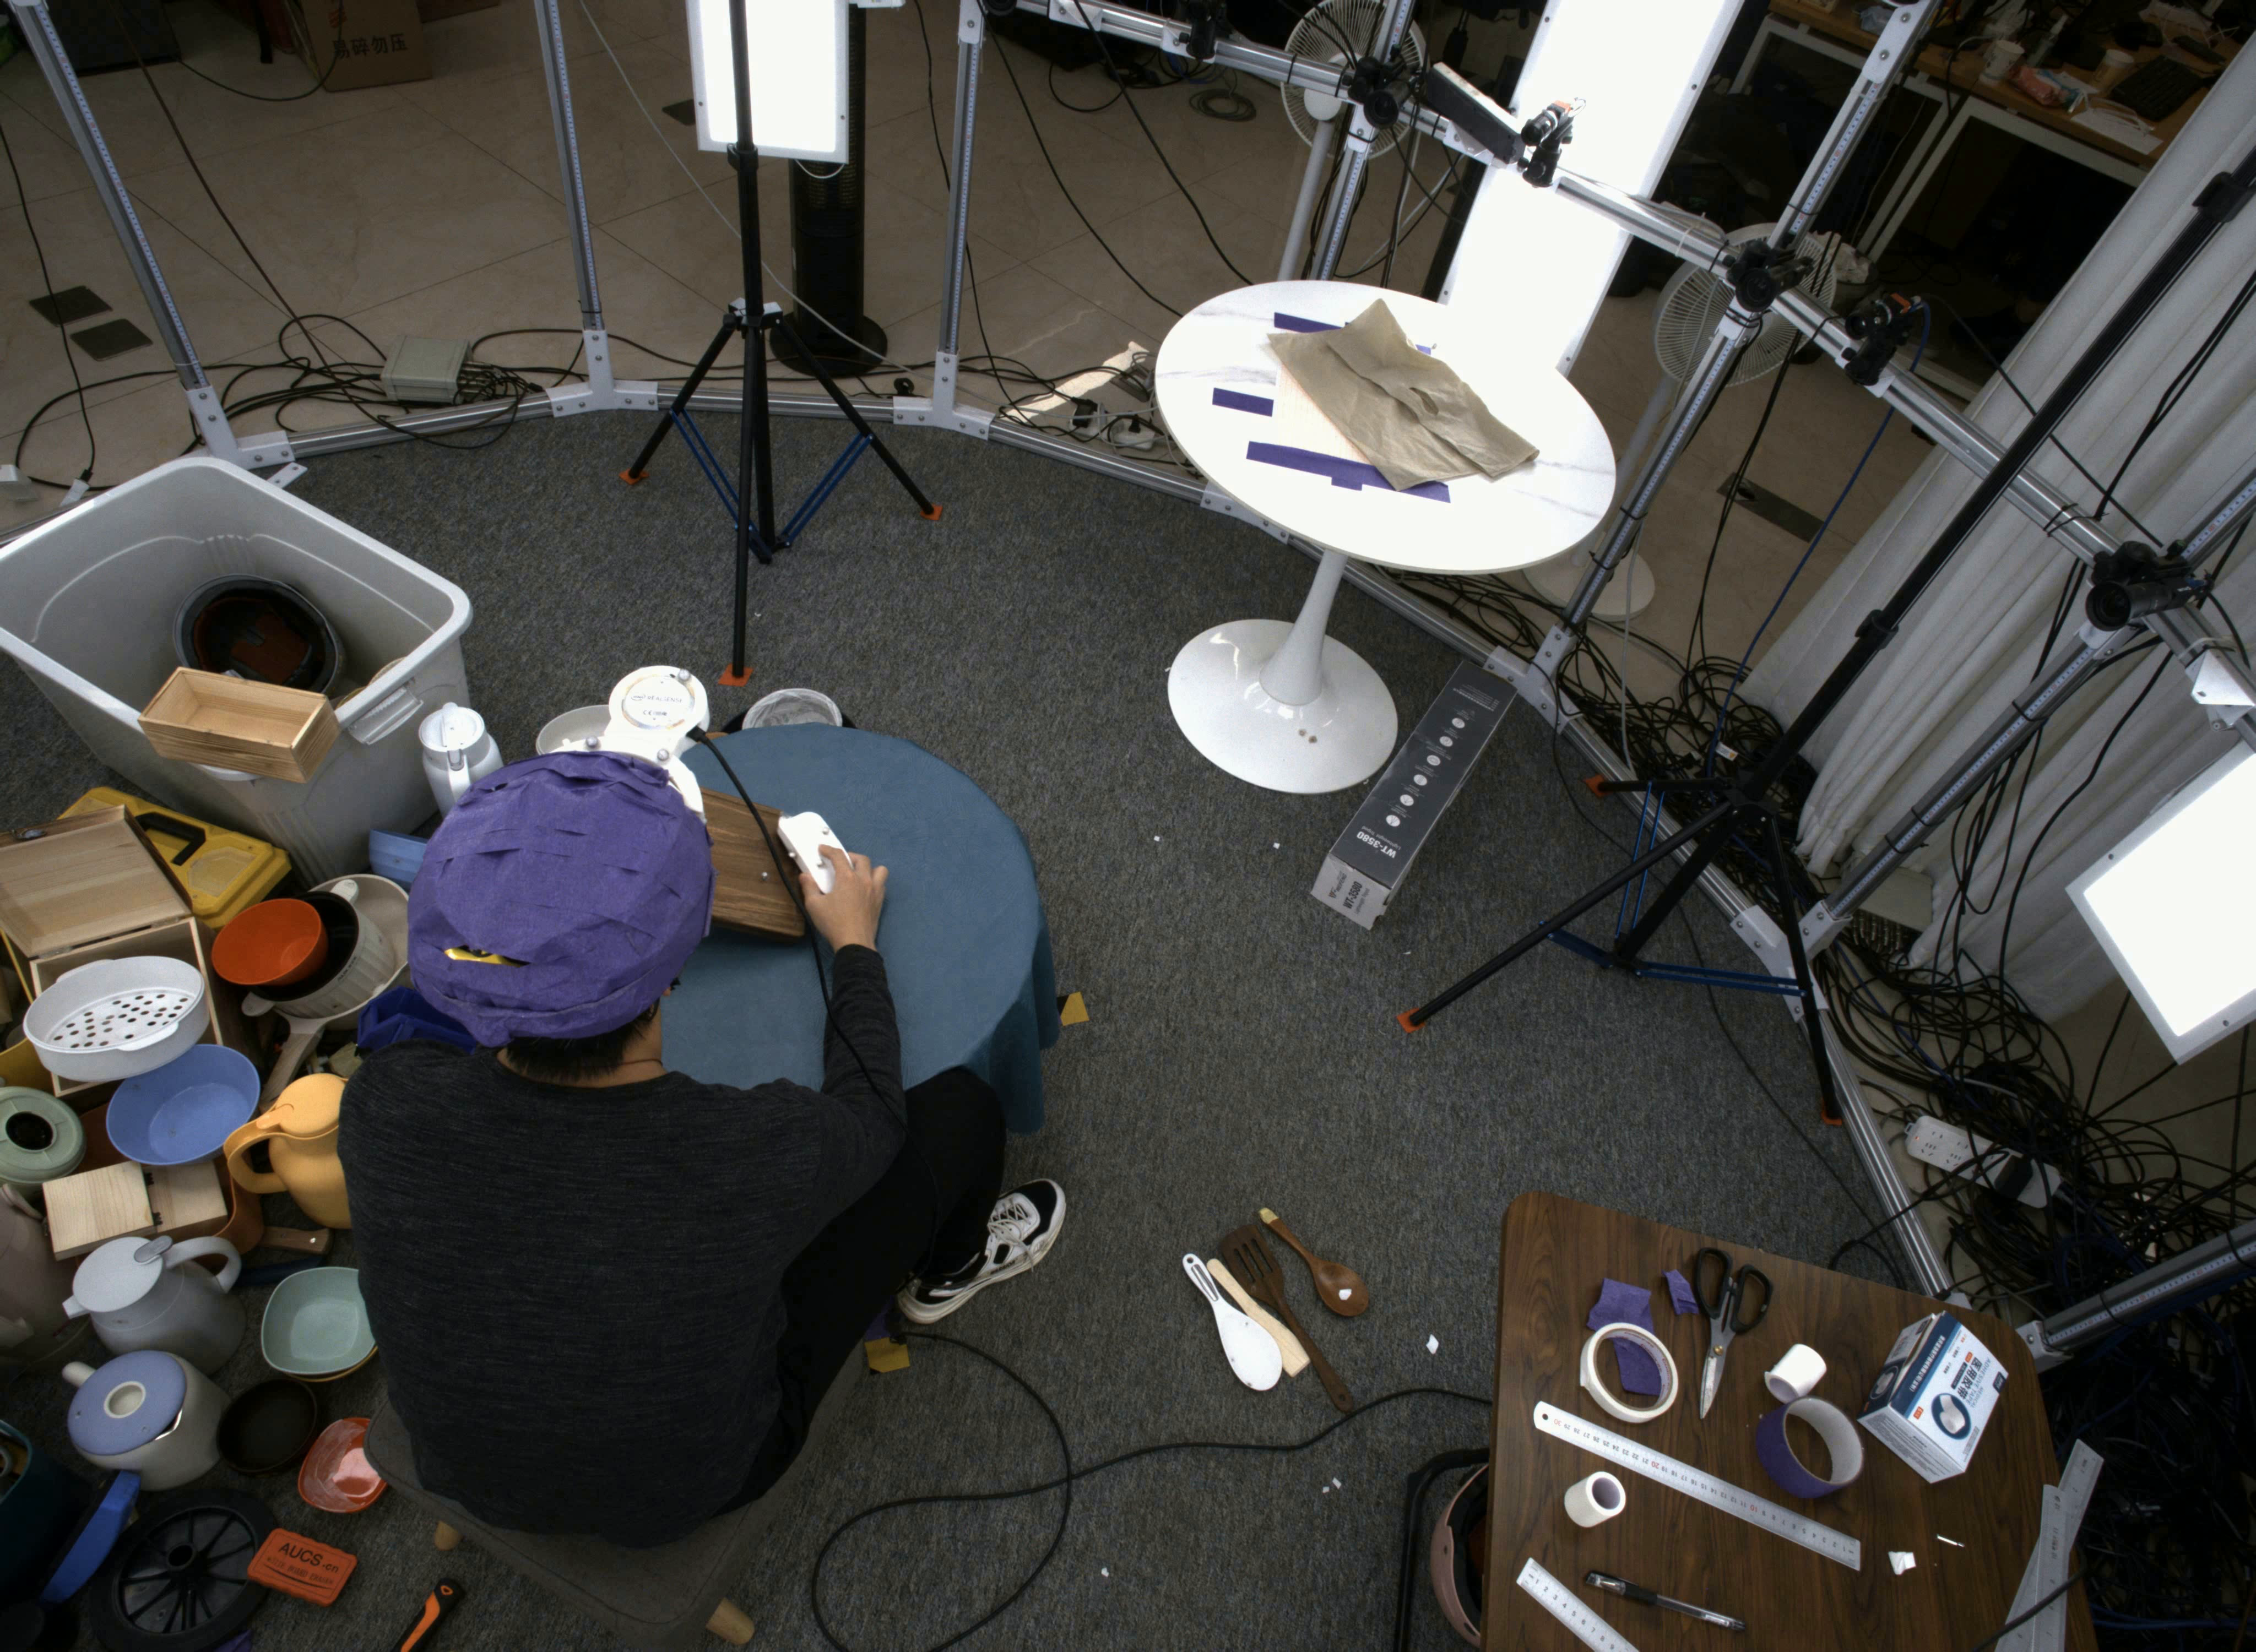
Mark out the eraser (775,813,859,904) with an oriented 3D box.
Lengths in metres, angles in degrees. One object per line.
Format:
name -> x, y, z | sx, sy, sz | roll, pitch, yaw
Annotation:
eraser -> -0.398, 0.038, 1.652 | 0.064, 0.035, 0.128 | -18, 62, -44

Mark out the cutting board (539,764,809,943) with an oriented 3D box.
cutting board -> -0.554, 0.019, 1.559 | 0.361, 0.023, 0.196 | 18, 44, -33
